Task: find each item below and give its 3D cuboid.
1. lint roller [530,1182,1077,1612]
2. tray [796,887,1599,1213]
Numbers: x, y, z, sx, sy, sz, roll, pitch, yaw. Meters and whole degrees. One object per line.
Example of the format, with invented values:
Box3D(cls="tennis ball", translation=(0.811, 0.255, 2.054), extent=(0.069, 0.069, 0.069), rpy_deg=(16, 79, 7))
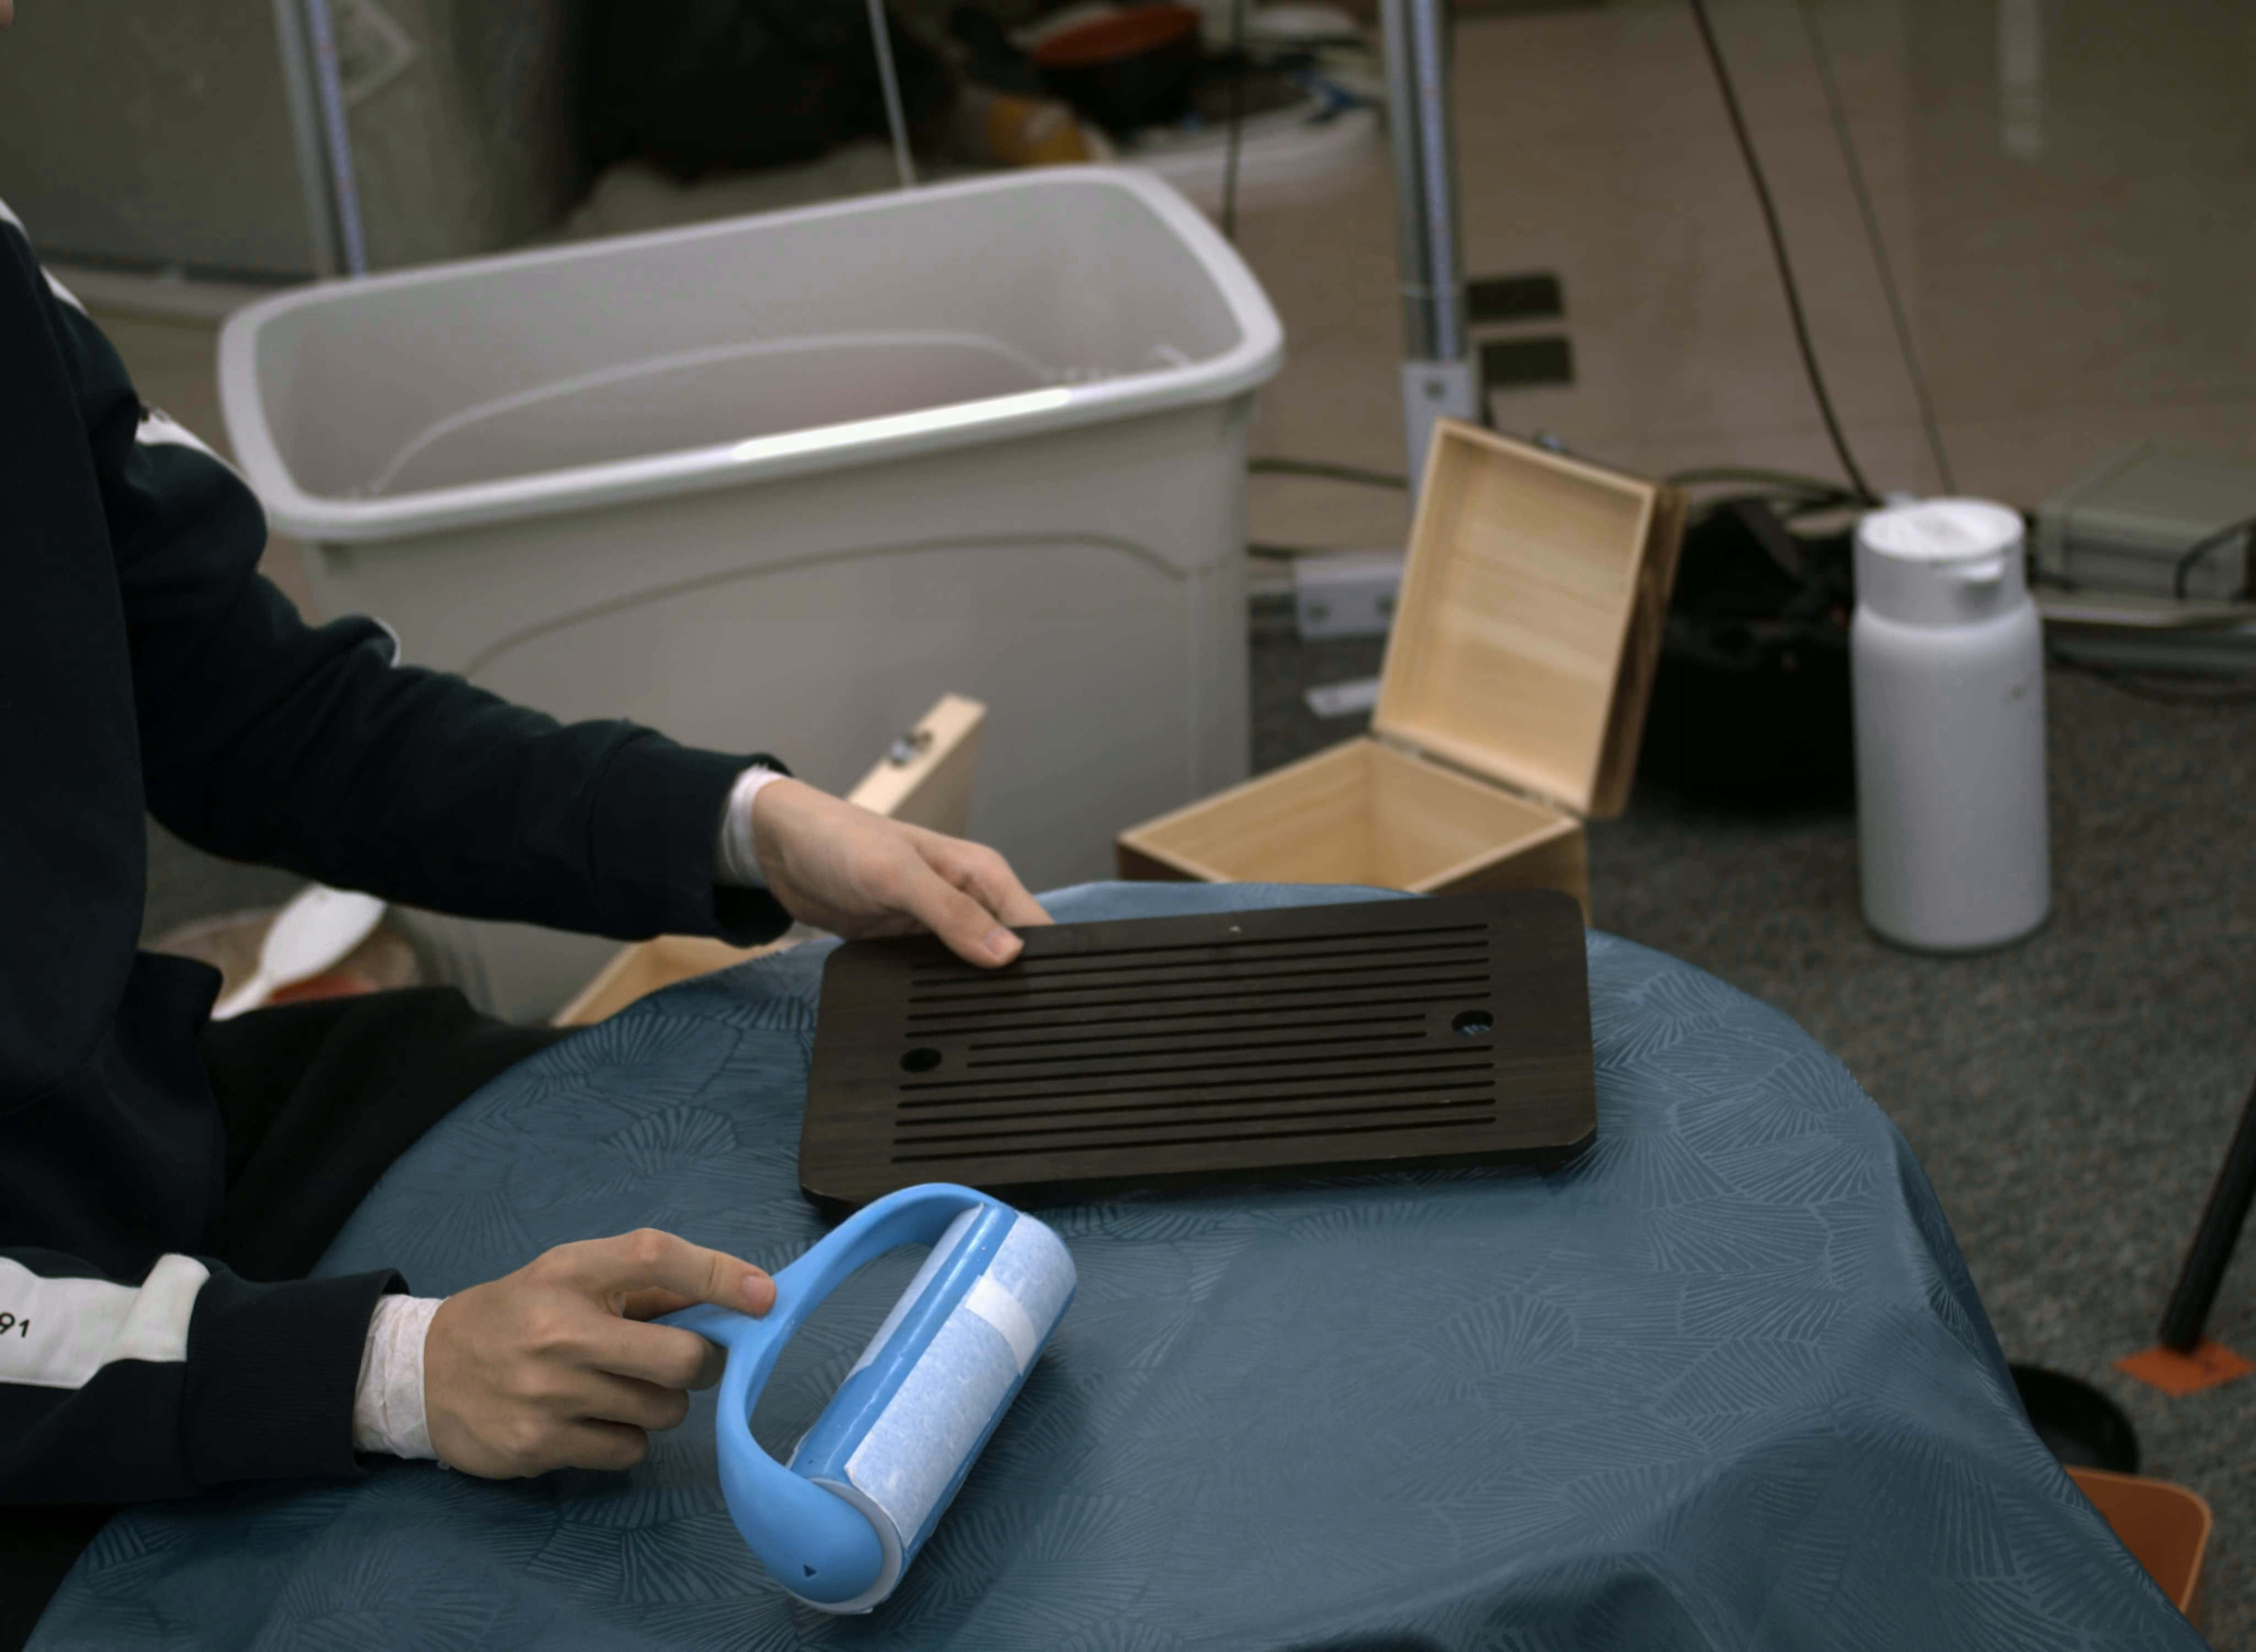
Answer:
Box3D(cls="lint roller", translation=(-0.128, 0.195, 1.973), extent=(0.180, 0.069, 0.225), rpy_deg=(2, 27, 15))
Box3D(cls="tray", translation=(0.027, 0.088, 2.198), extent=(0.305, 0.019, 0.167), rpy_deg=(-4, 34, 5))
